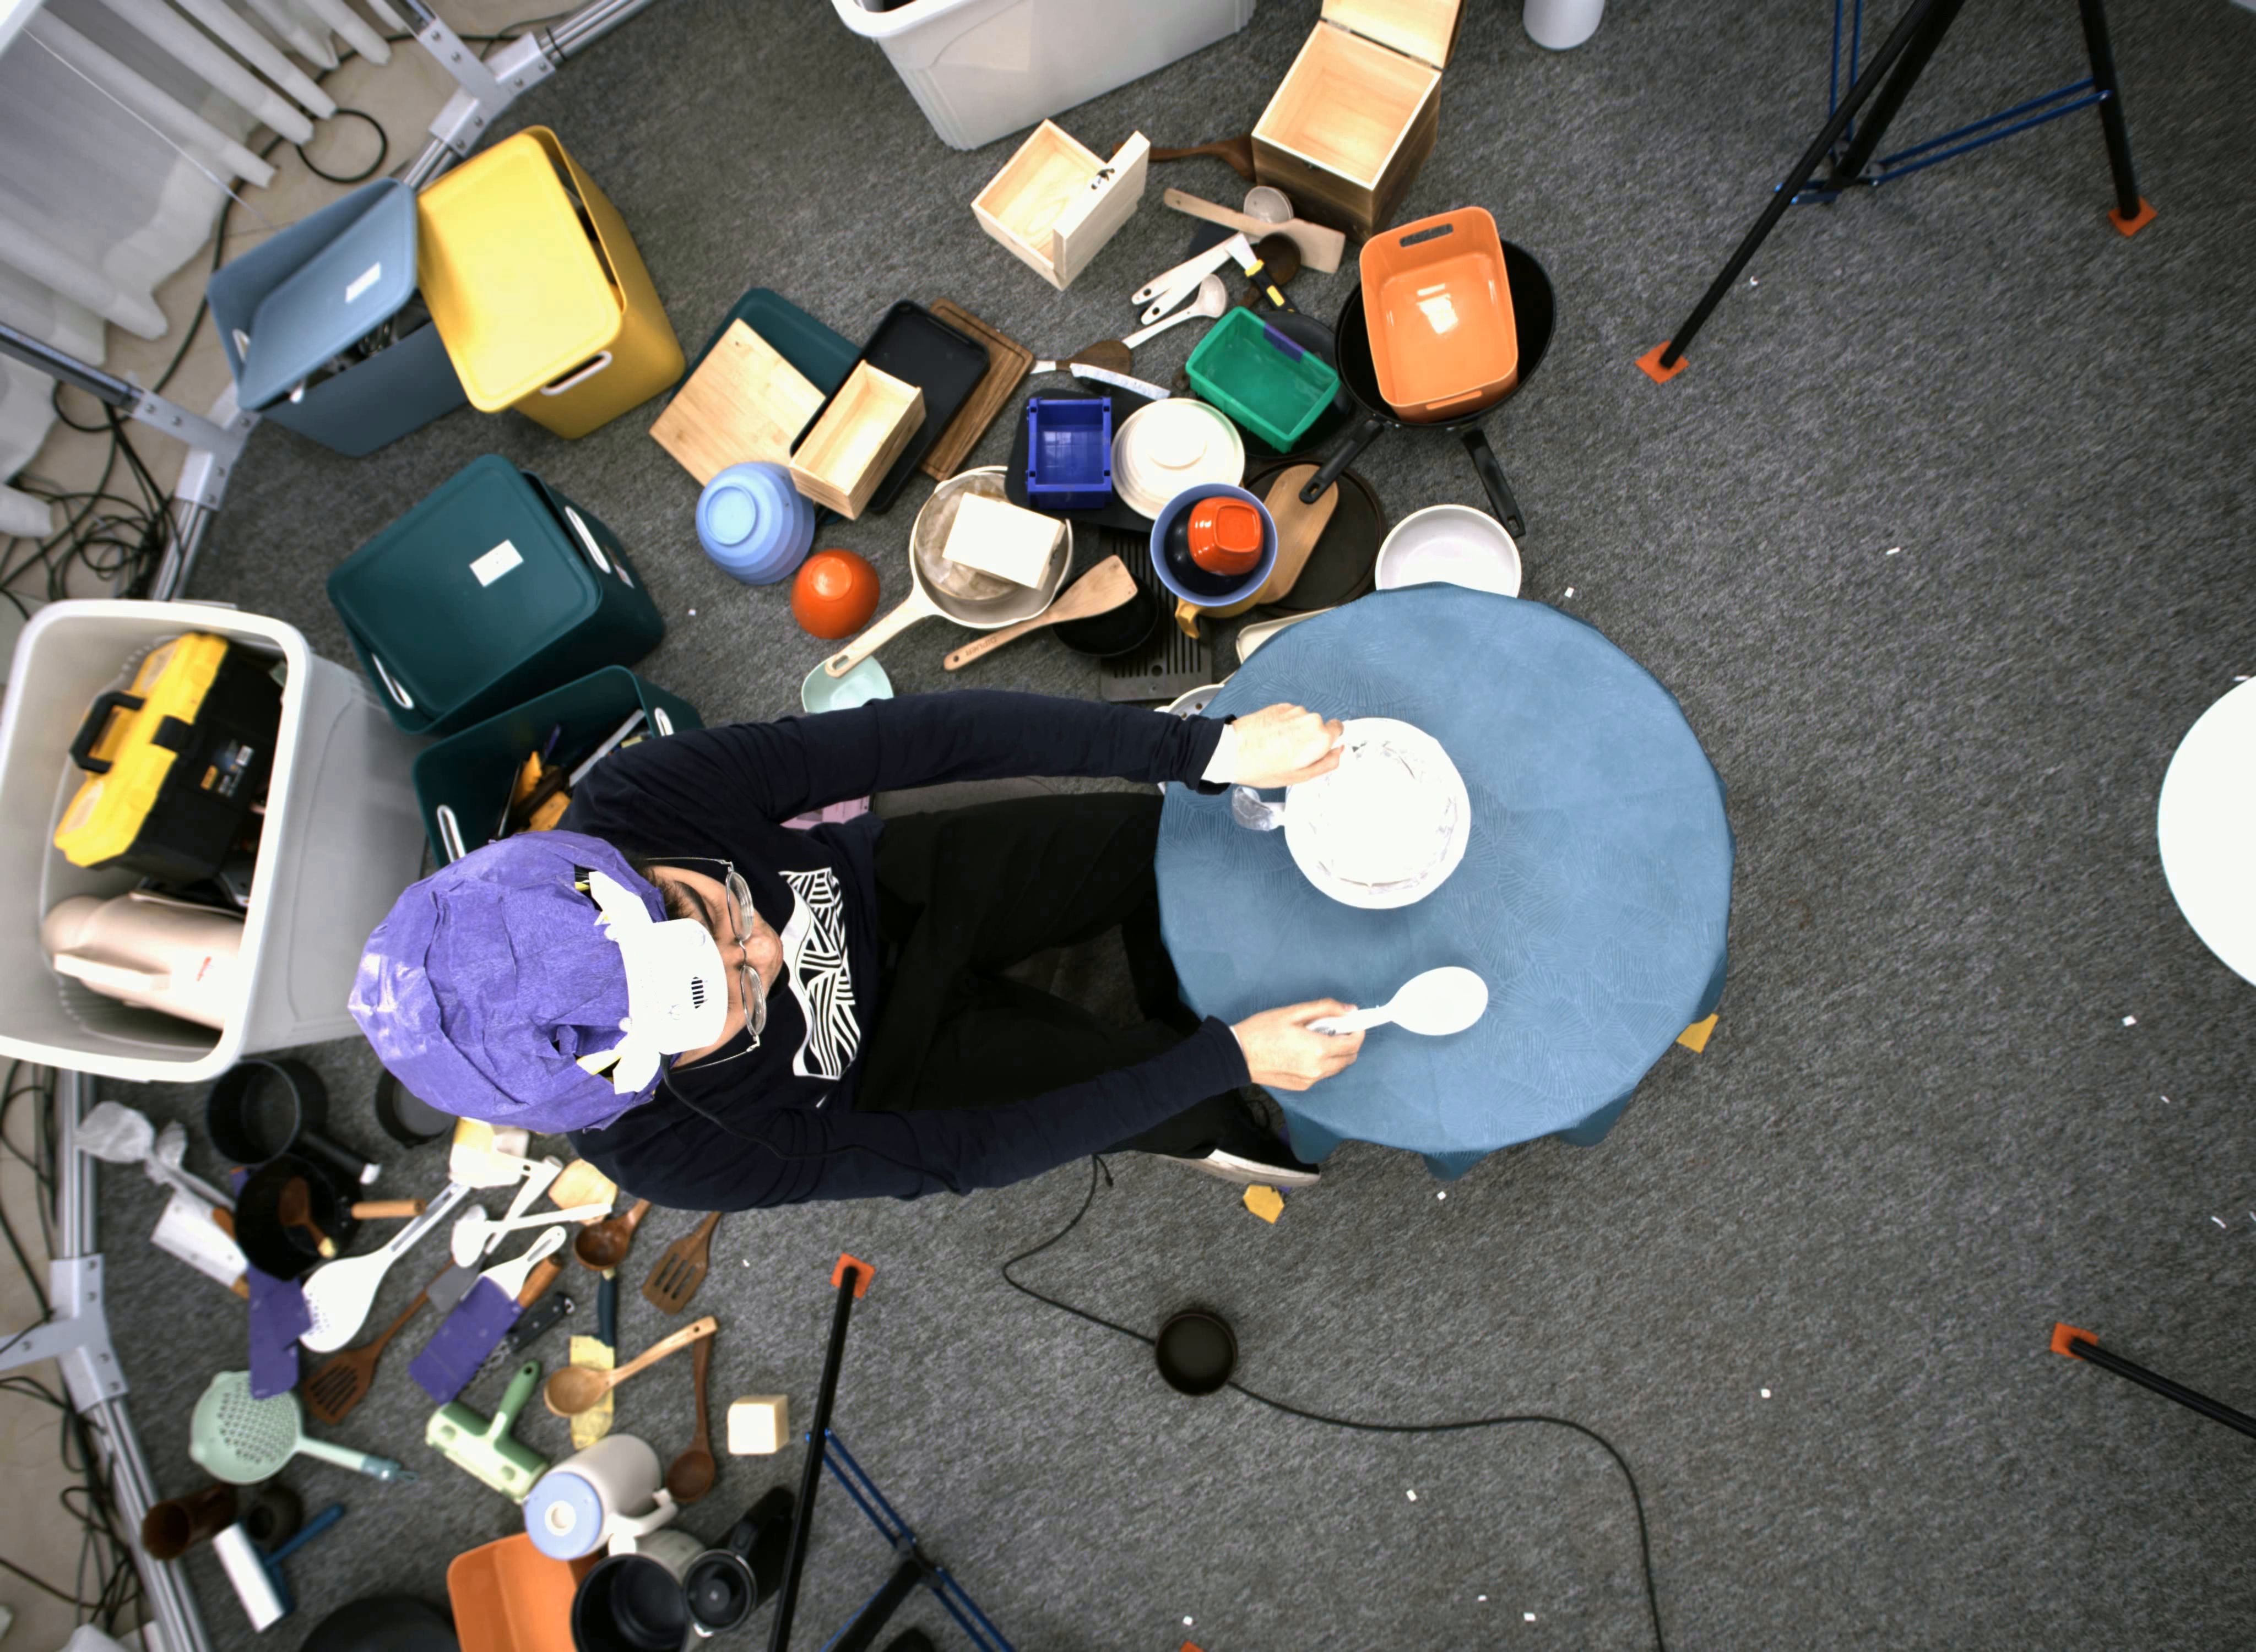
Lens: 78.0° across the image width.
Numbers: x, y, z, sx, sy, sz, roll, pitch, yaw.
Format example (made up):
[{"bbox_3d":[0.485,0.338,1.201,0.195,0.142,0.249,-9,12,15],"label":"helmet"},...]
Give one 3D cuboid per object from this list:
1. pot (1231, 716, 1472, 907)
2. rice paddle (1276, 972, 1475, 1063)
[{"bbox_3d":[0.219,-0.018,1.383,0.234,0.135,0.180,-2,100,8],"label":"pot"},{"bbox_3d":[0.252,0.197,1.400,0.206,0.029,0.069,-16,96,4],"label":"rice paddle"}]
